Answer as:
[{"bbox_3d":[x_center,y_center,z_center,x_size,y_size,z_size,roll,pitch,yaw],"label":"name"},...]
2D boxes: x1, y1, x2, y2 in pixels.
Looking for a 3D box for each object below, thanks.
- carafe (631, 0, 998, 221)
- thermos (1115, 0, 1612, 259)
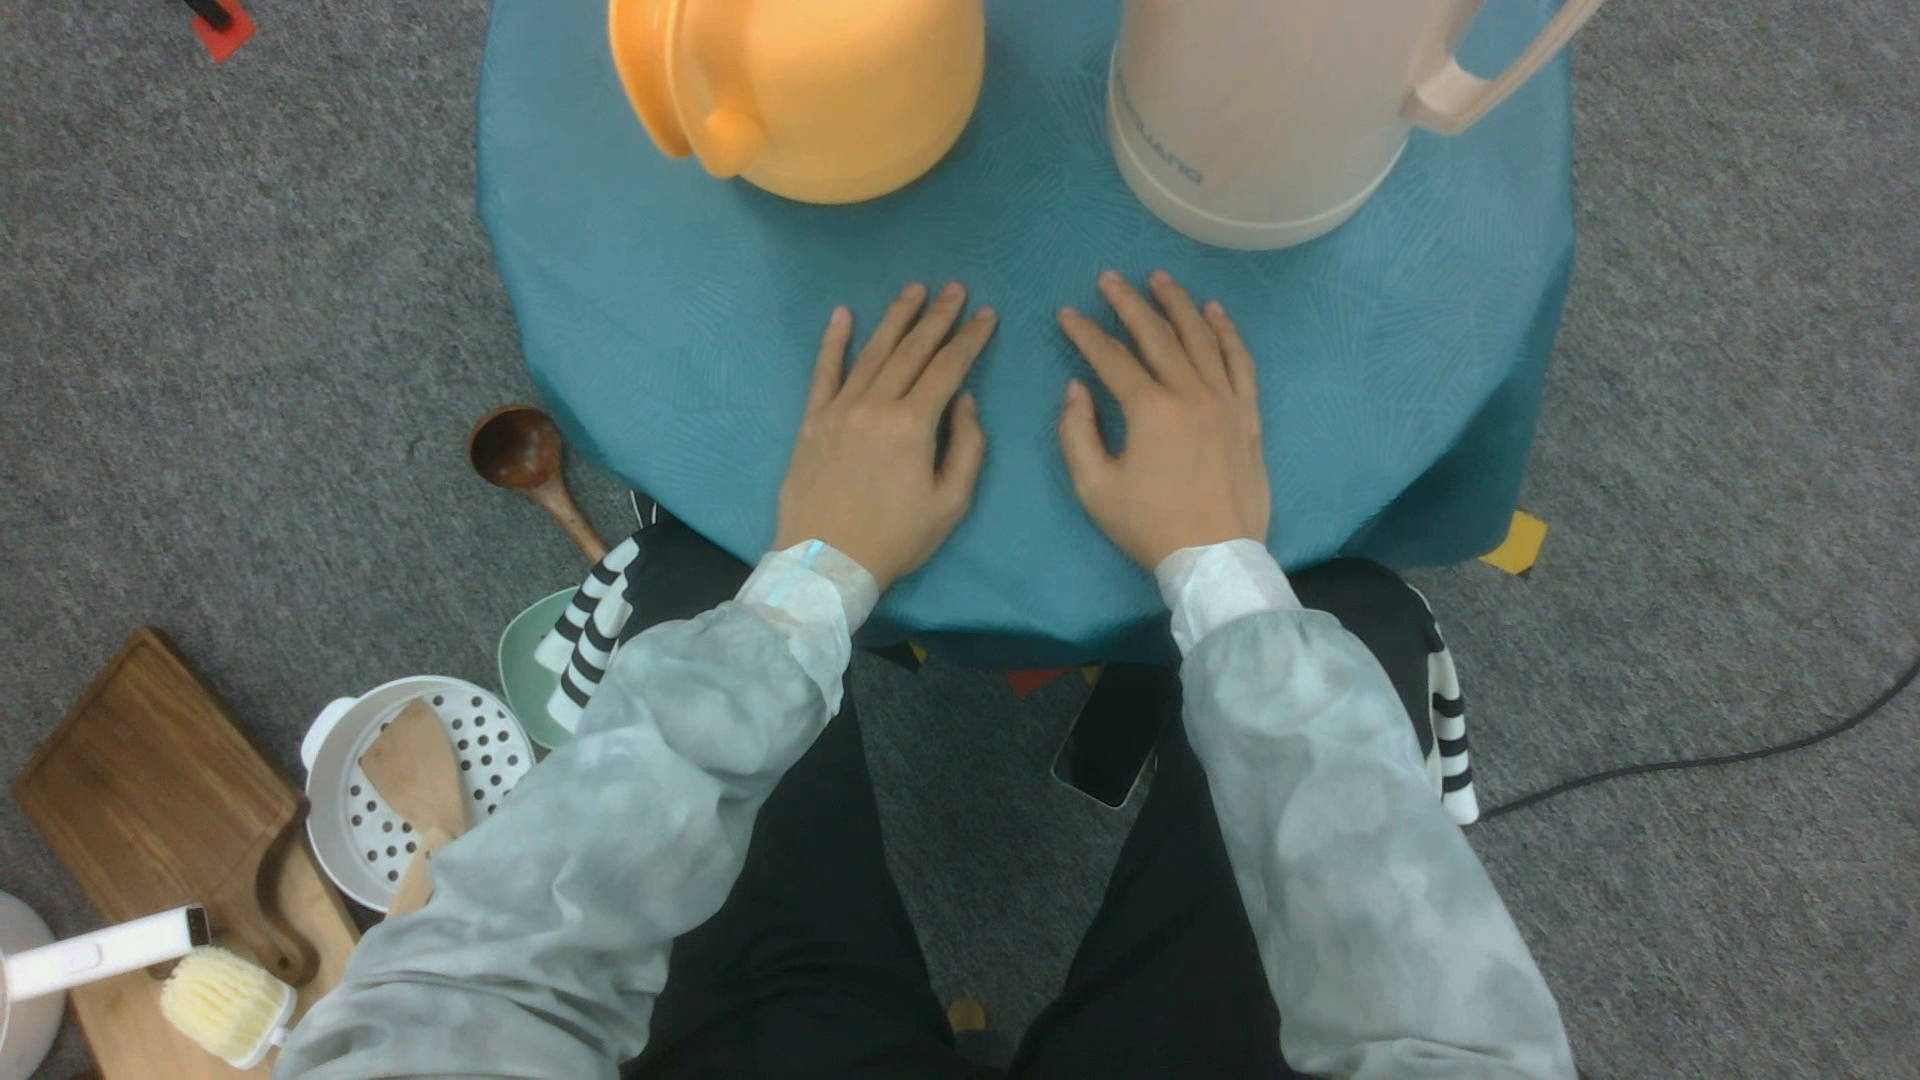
[{"bbox_3d":[-0.076,-0.253,0.643,0.163,0.260,0.203,26,80,9],"label":"carafe"},{"bbox_3d":[0.164,-0.254,0.566,0.175,0.405,0.207,-41,80,-6],"label":"thermos"}]
